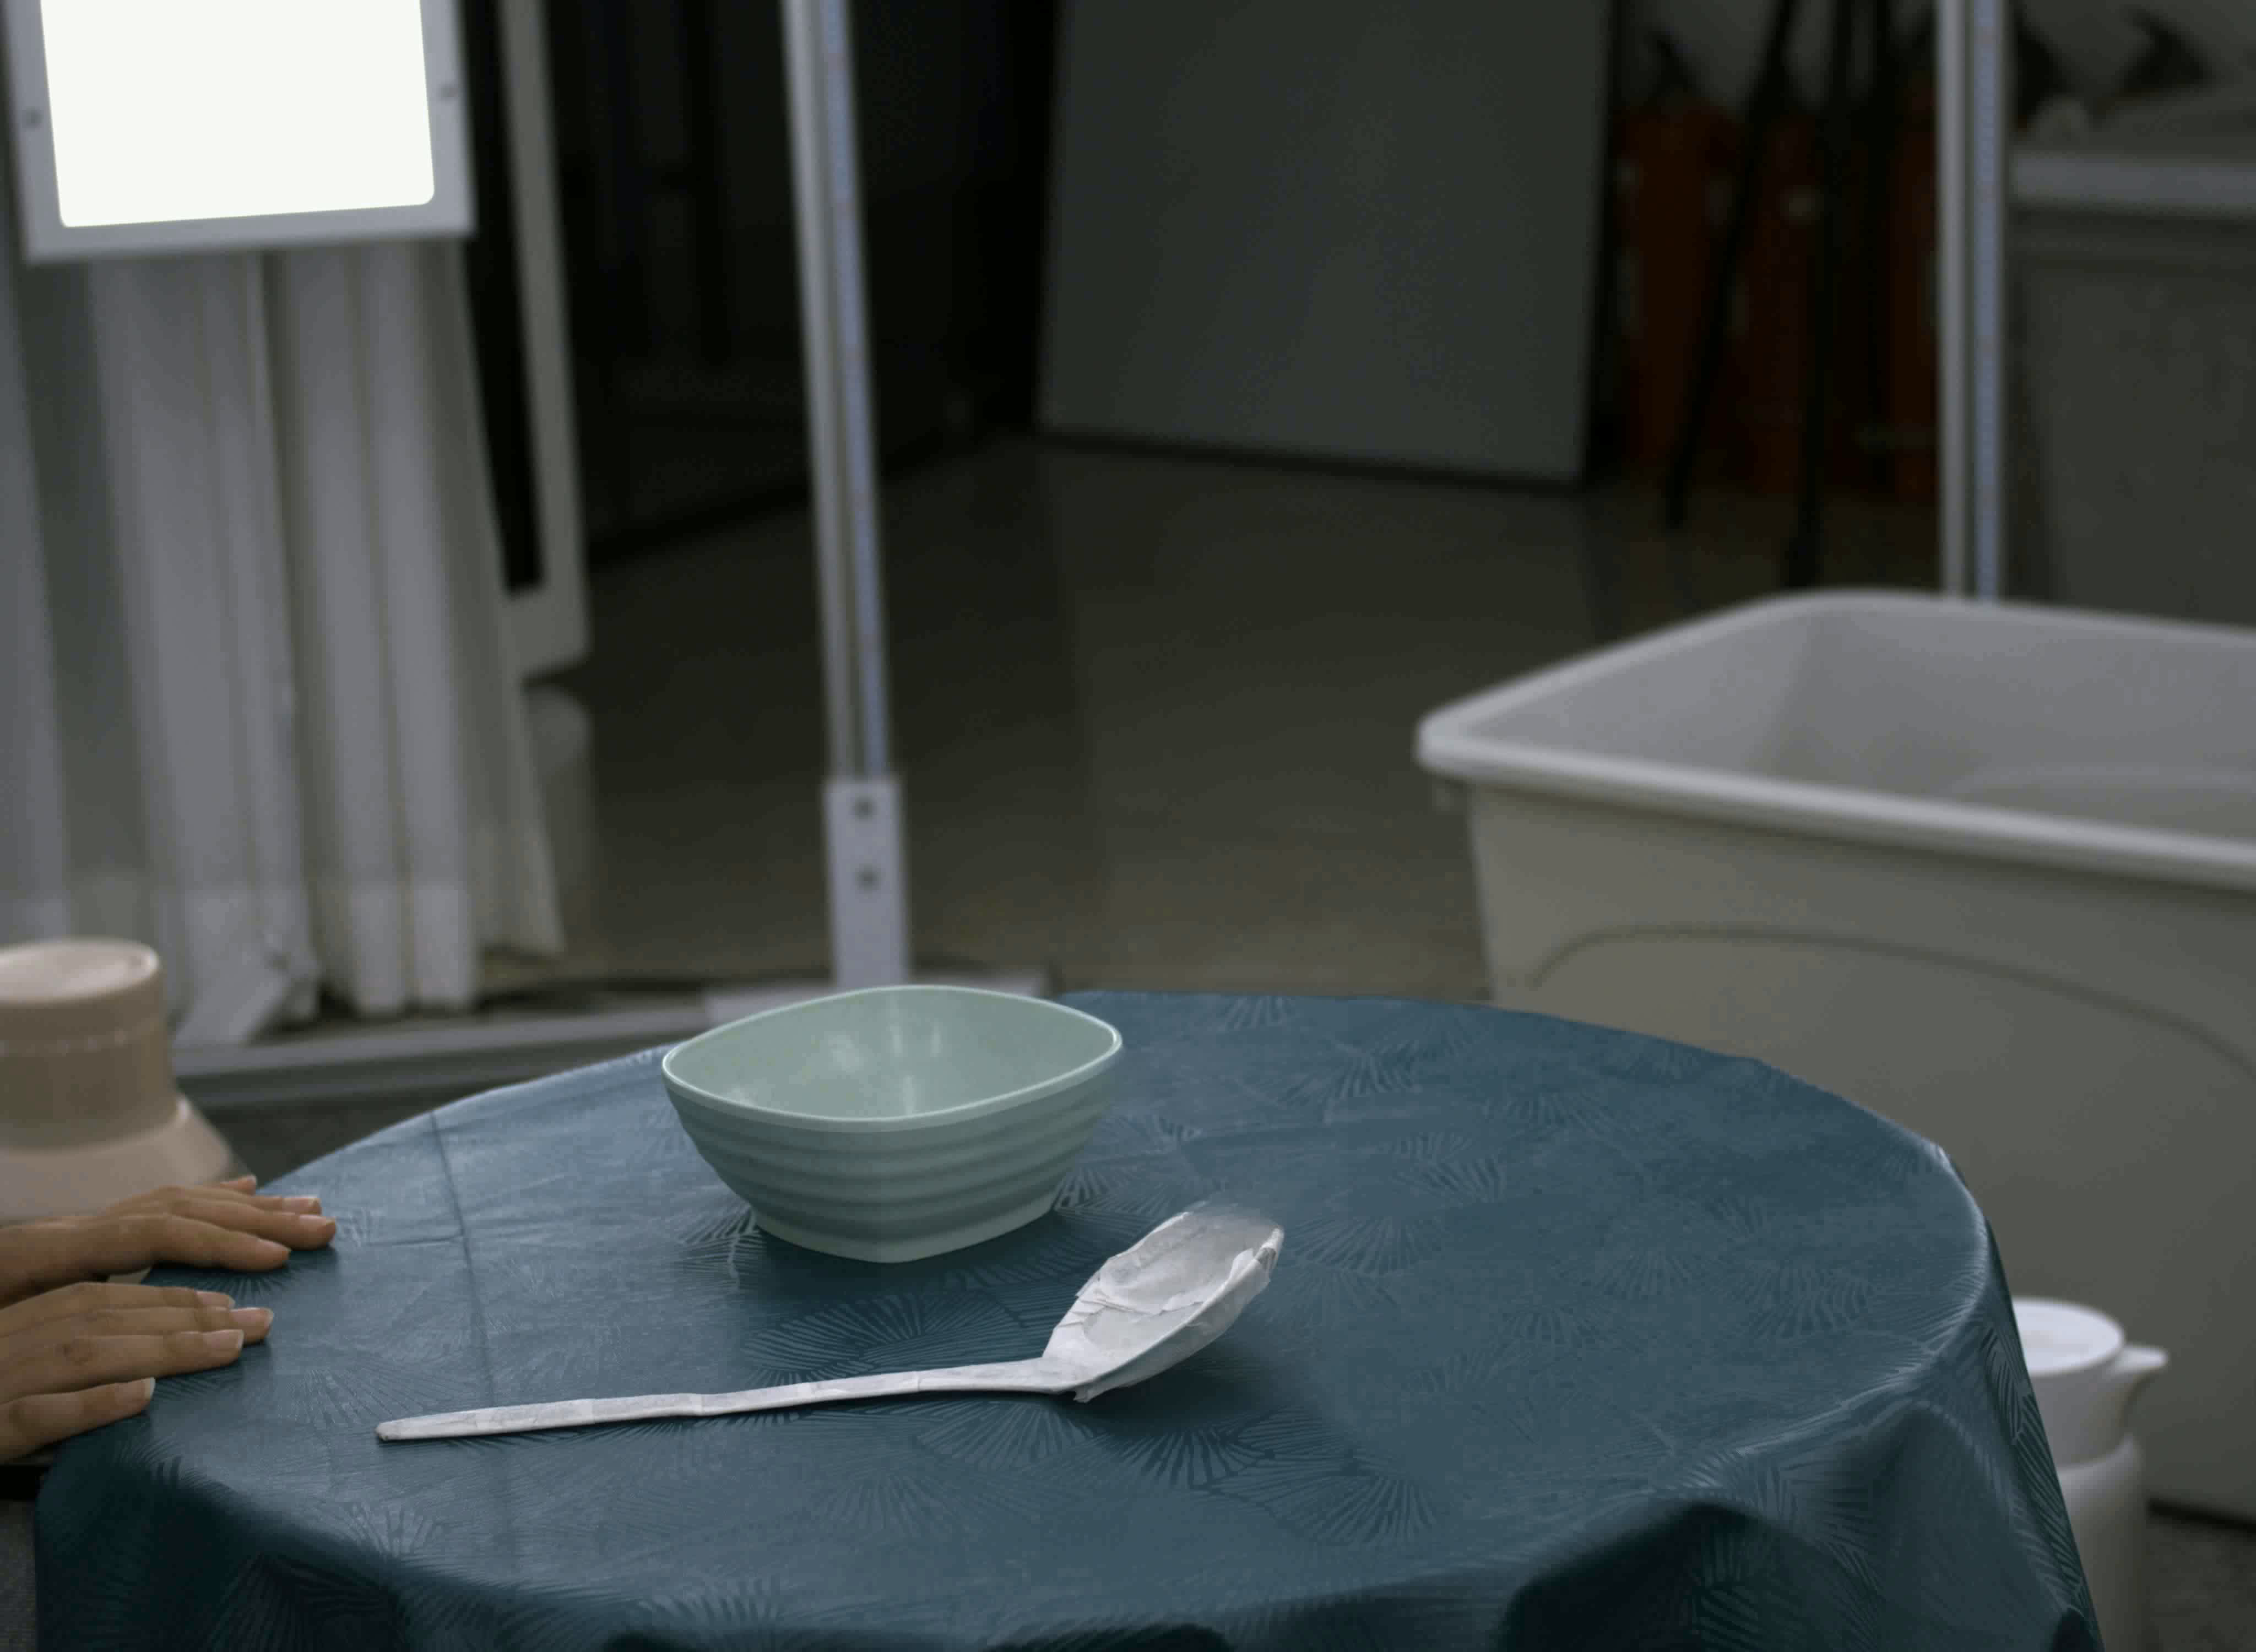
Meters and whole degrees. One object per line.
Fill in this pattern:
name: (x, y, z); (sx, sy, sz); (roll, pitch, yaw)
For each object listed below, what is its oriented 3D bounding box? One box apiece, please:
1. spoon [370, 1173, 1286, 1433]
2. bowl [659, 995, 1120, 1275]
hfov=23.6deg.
spoon: (-0.089, 0.141, 1.597); (0.274, 0.060, 0.100); (-4, 9, 2)
bowl: (-0.076, 0.103, 1.754); (0.149, 0.059, 0.152); (-3, 14, 0)
